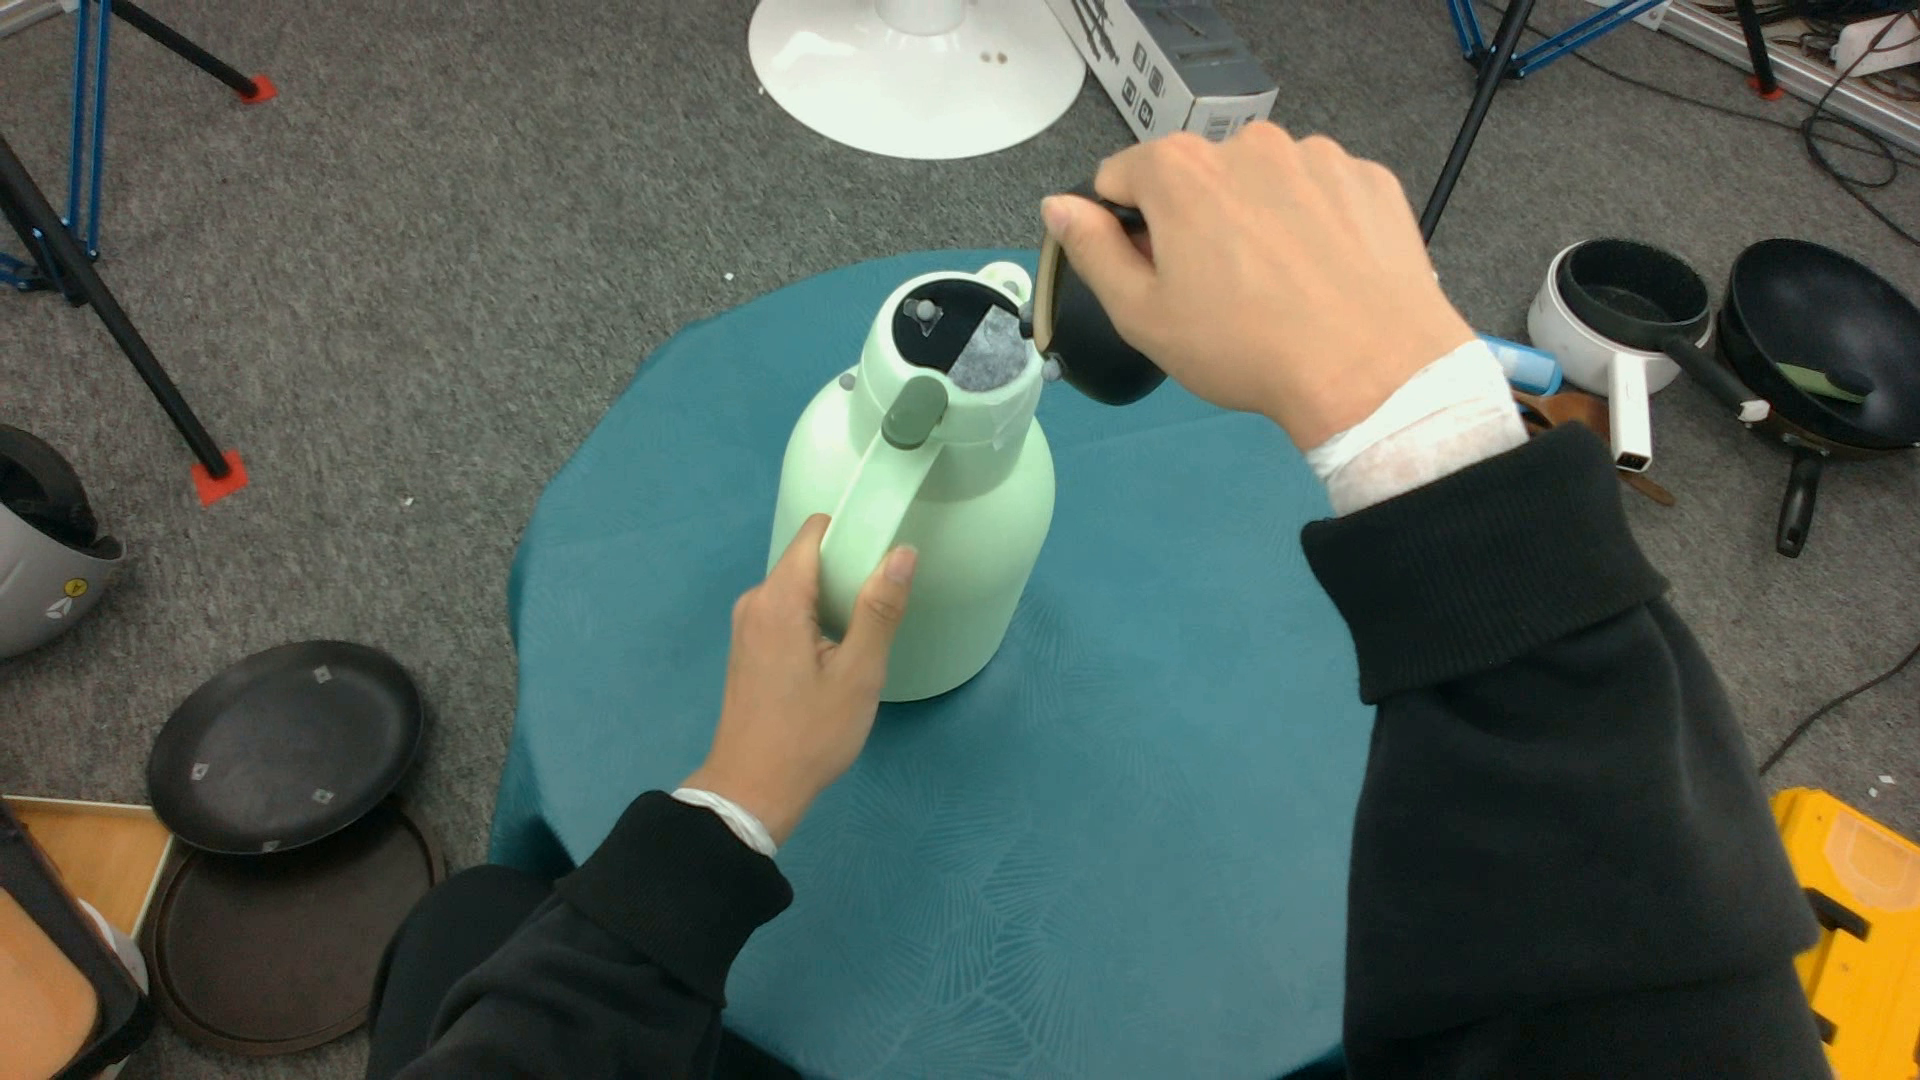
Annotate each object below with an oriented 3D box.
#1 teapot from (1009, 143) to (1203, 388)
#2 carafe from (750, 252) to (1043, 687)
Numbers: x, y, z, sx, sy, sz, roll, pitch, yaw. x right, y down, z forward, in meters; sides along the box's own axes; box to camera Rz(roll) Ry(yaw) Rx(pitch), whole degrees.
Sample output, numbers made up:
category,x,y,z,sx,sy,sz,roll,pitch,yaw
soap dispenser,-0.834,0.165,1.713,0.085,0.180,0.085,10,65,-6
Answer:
category,x,y,z,sx,sy,sz,roll,pitch,yaw
teapot,0.057,-0.103,0.517,0.053,0.133,0.091,5,79,-10
carafe,-0.034,-0.022,0.702,0.144,0.255,0.187,26,61,2
